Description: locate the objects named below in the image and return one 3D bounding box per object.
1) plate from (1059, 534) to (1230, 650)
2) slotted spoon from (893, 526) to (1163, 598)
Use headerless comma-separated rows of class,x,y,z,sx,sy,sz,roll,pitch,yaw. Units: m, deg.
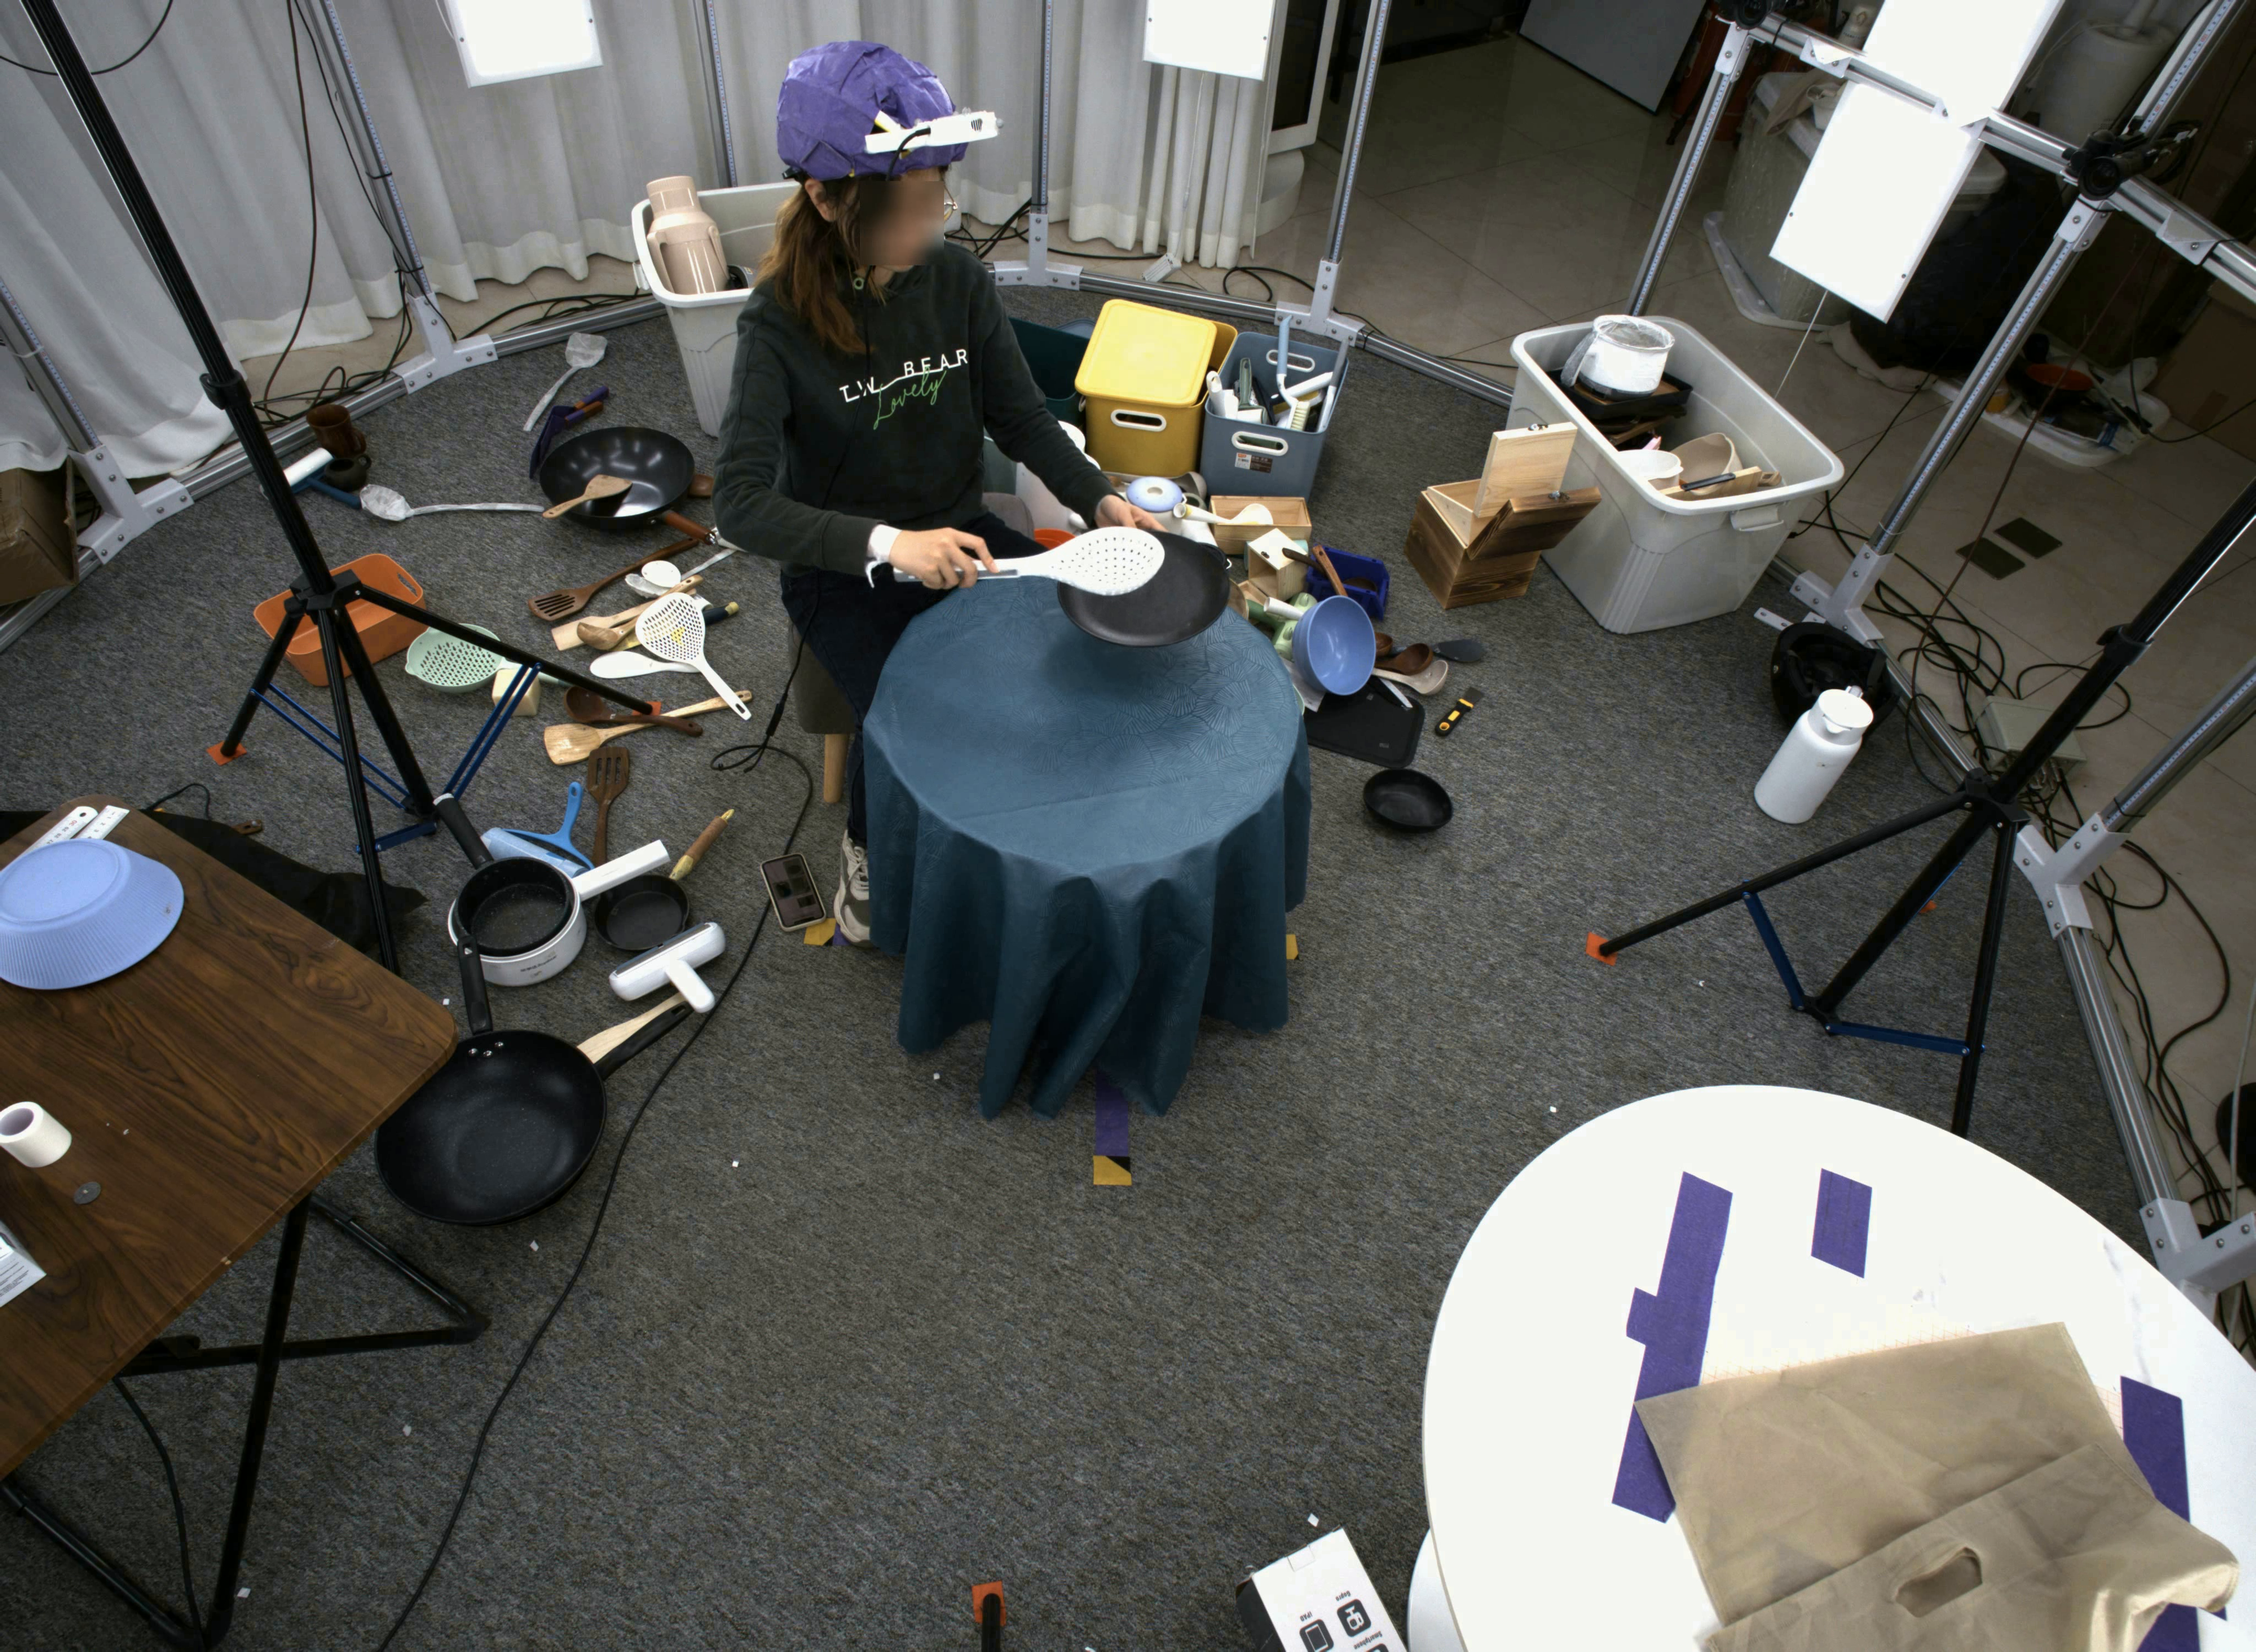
plate,0.024,-0.333,1.839,0.244,0.023,0.250,-1,50,1
slotted spoon,-0.128,-0.334,1.679,0.349,0.133,0.047,0,63,-1
